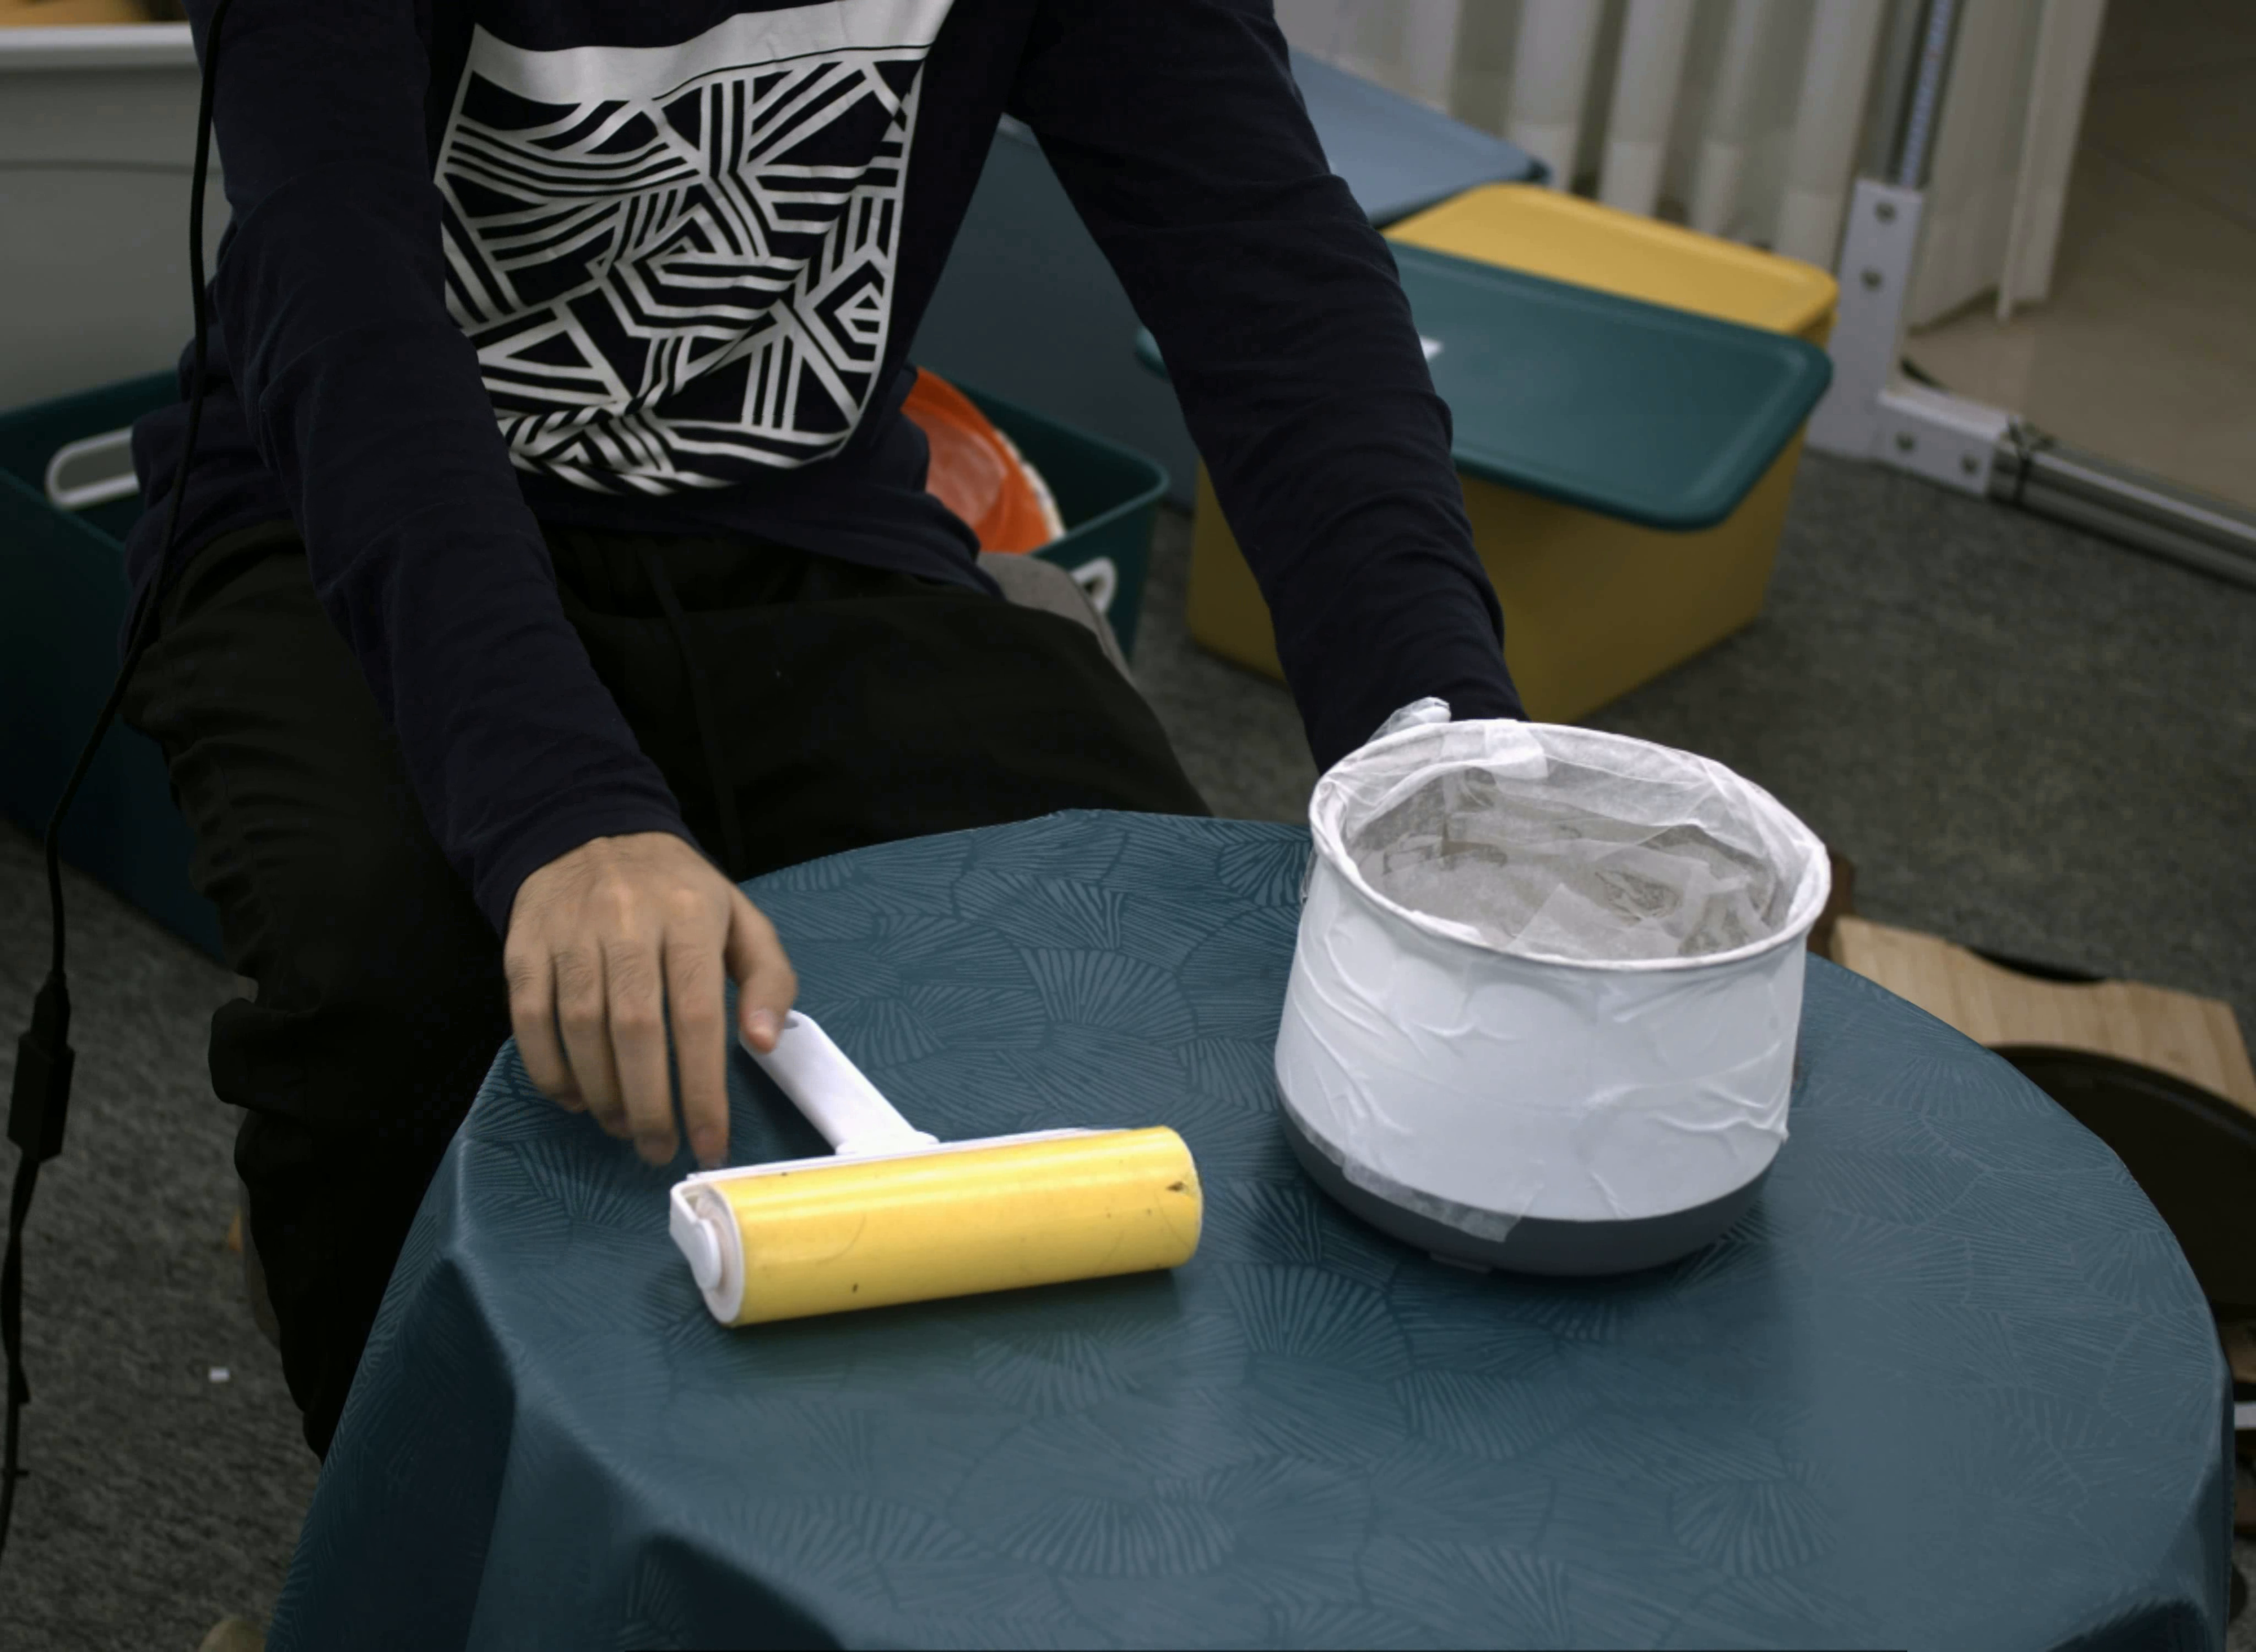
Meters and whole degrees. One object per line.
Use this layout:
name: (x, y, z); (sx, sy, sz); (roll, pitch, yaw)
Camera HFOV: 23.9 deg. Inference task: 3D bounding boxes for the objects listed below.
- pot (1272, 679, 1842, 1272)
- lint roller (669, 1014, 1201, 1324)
pot: (0.129, 0.044, 1.831); (0.177, 0.136, 0.236); (-6, 31, -28)
lint roller: (-0.088, 0.097, 1.784); (0.173, 0.051, 0.194); (-6, 31, -24)
